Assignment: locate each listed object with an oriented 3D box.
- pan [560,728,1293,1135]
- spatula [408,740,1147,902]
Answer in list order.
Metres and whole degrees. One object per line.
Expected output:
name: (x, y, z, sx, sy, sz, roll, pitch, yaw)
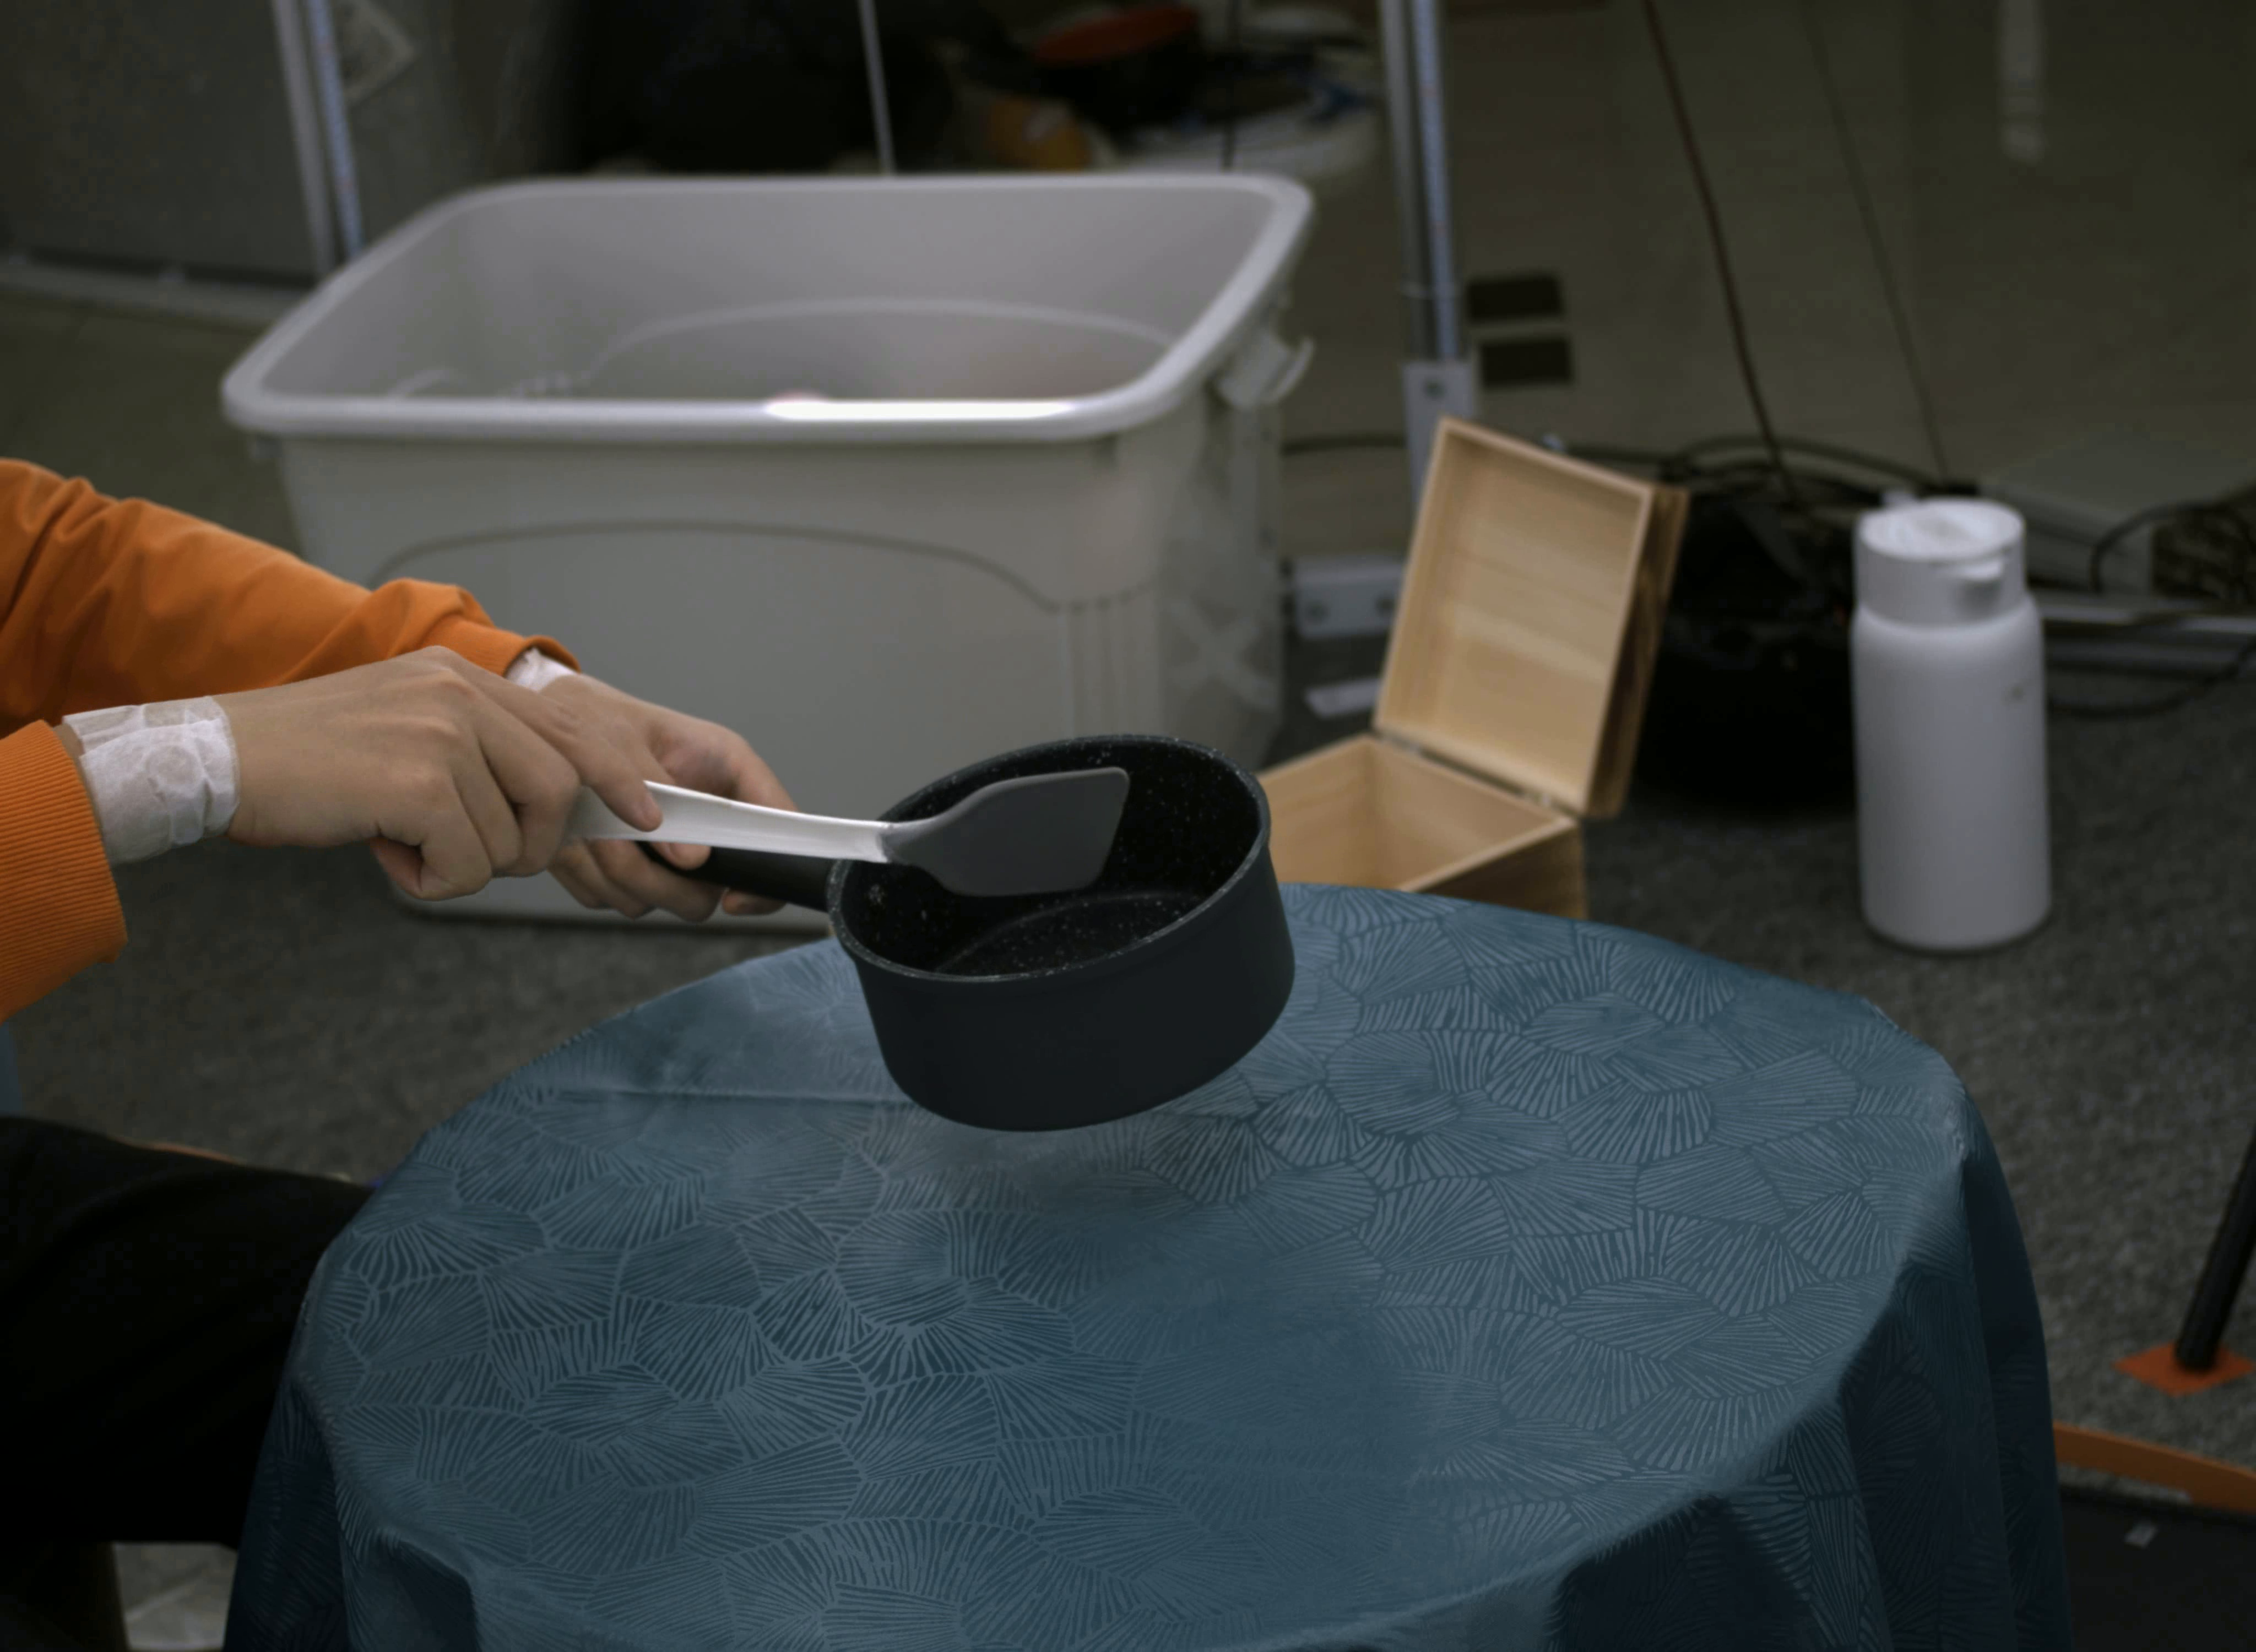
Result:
pan: (-0.090, 0.030, 2.195, 0.327, 0.088, 0.170, 9, 38, 32)
spatula: (-0.120, -0.004, 2.038, 0.288, 0.059, 0.032, 5, 27, -29)
